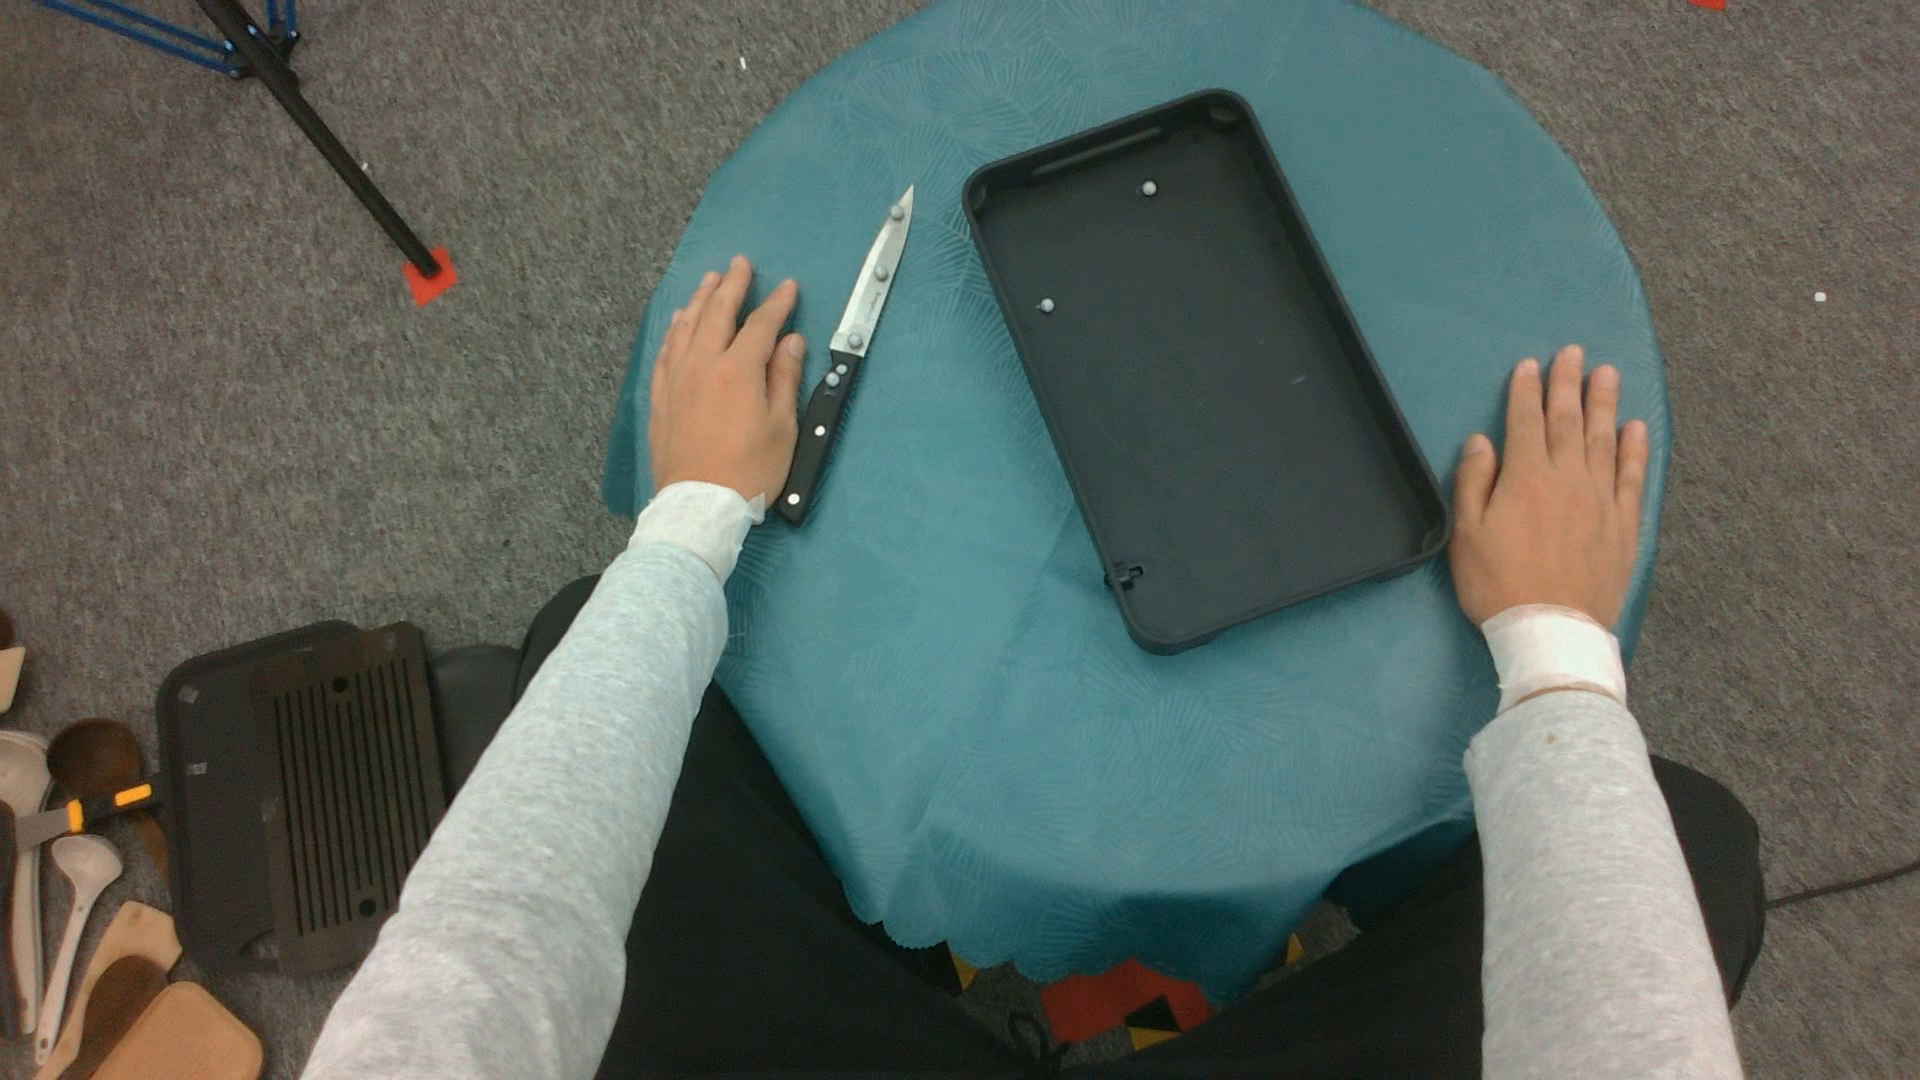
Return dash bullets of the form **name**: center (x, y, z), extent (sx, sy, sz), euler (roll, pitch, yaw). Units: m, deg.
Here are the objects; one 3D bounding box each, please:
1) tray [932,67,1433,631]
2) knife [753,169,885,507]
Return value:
- **tray**: center (0.119, -0.117, 0.793), extent (0.184, 0.037, 0.318), euler (-21, 71, -3)
- **knife**: center (-0.077, -0.126, 0.822), extent (0.024, 0.016, 0.239), euler (14, 69, 8)
